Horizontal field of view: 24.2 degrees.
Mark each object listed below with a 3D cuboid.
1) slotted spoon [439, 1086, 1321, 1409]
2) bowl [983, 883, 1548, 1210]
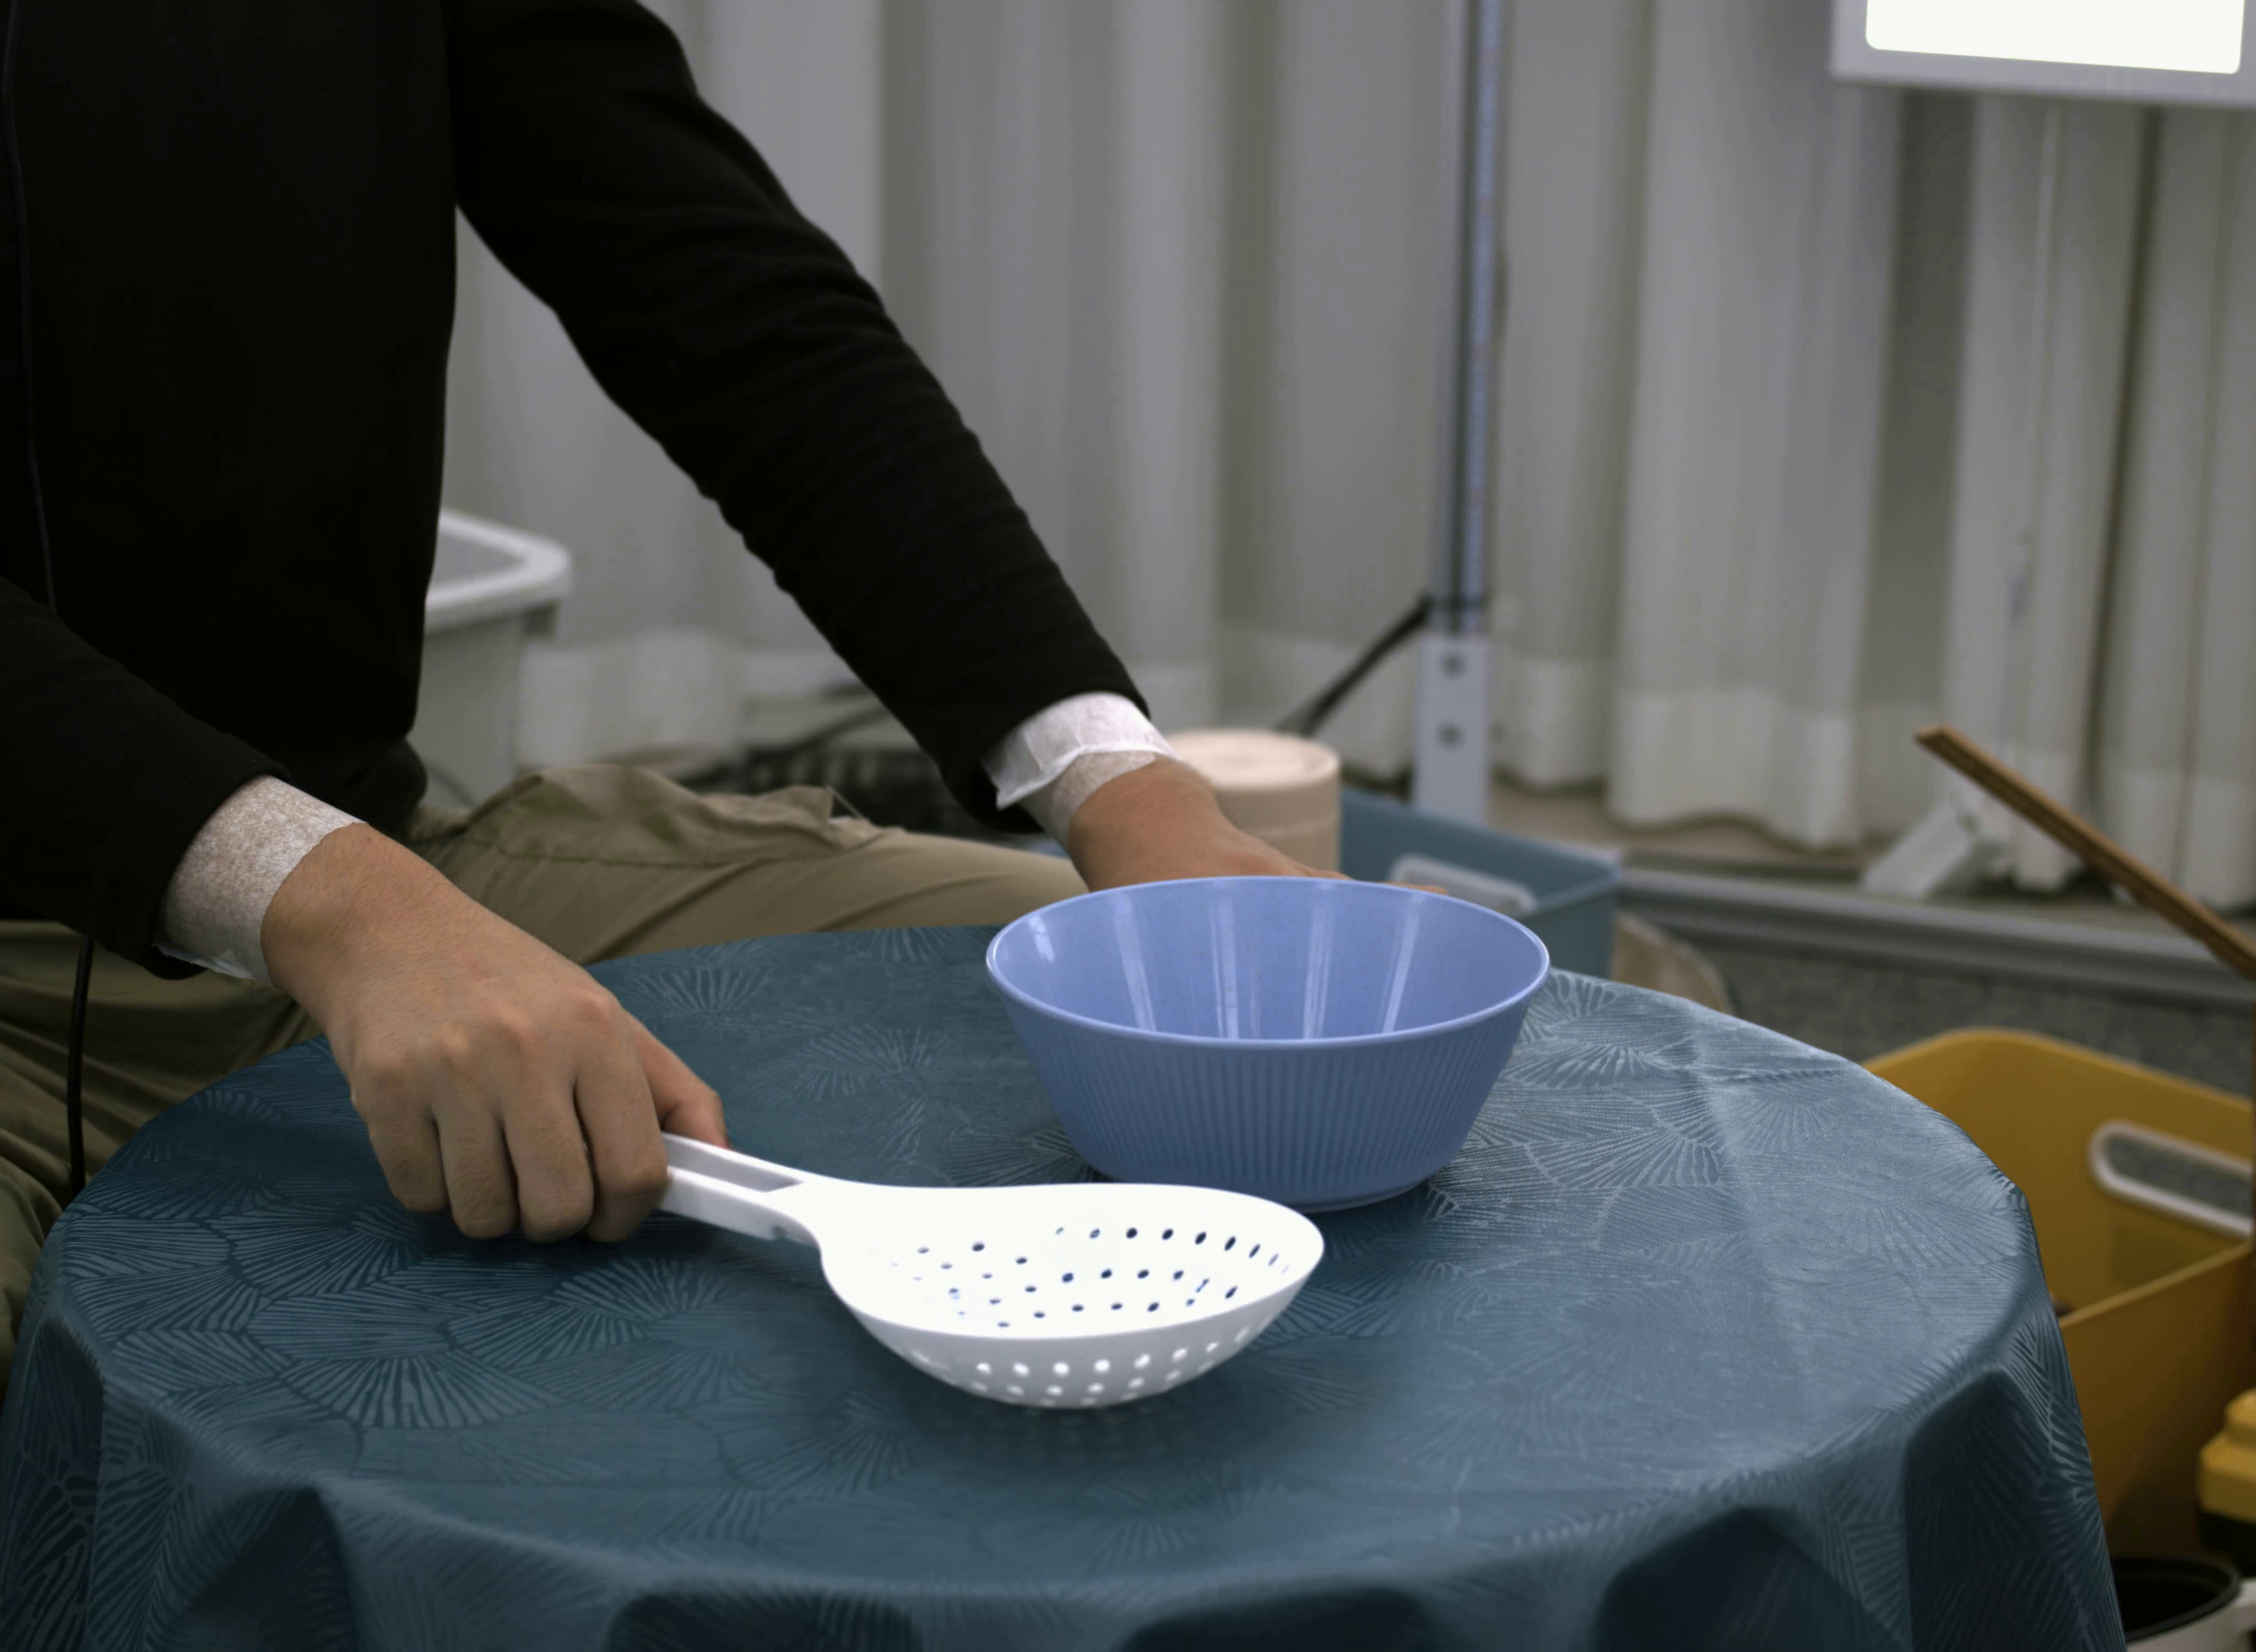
[{"bbox_3d":[-0.088,0.112,1.524,0.136,0.046,0.345,-17,24,-41],"label":"slotted spoon"},{"bbox_3d":[0.043,0.071,1.642,0.175,0.071,0.175,0,15,1],"label":"bowl"}]
